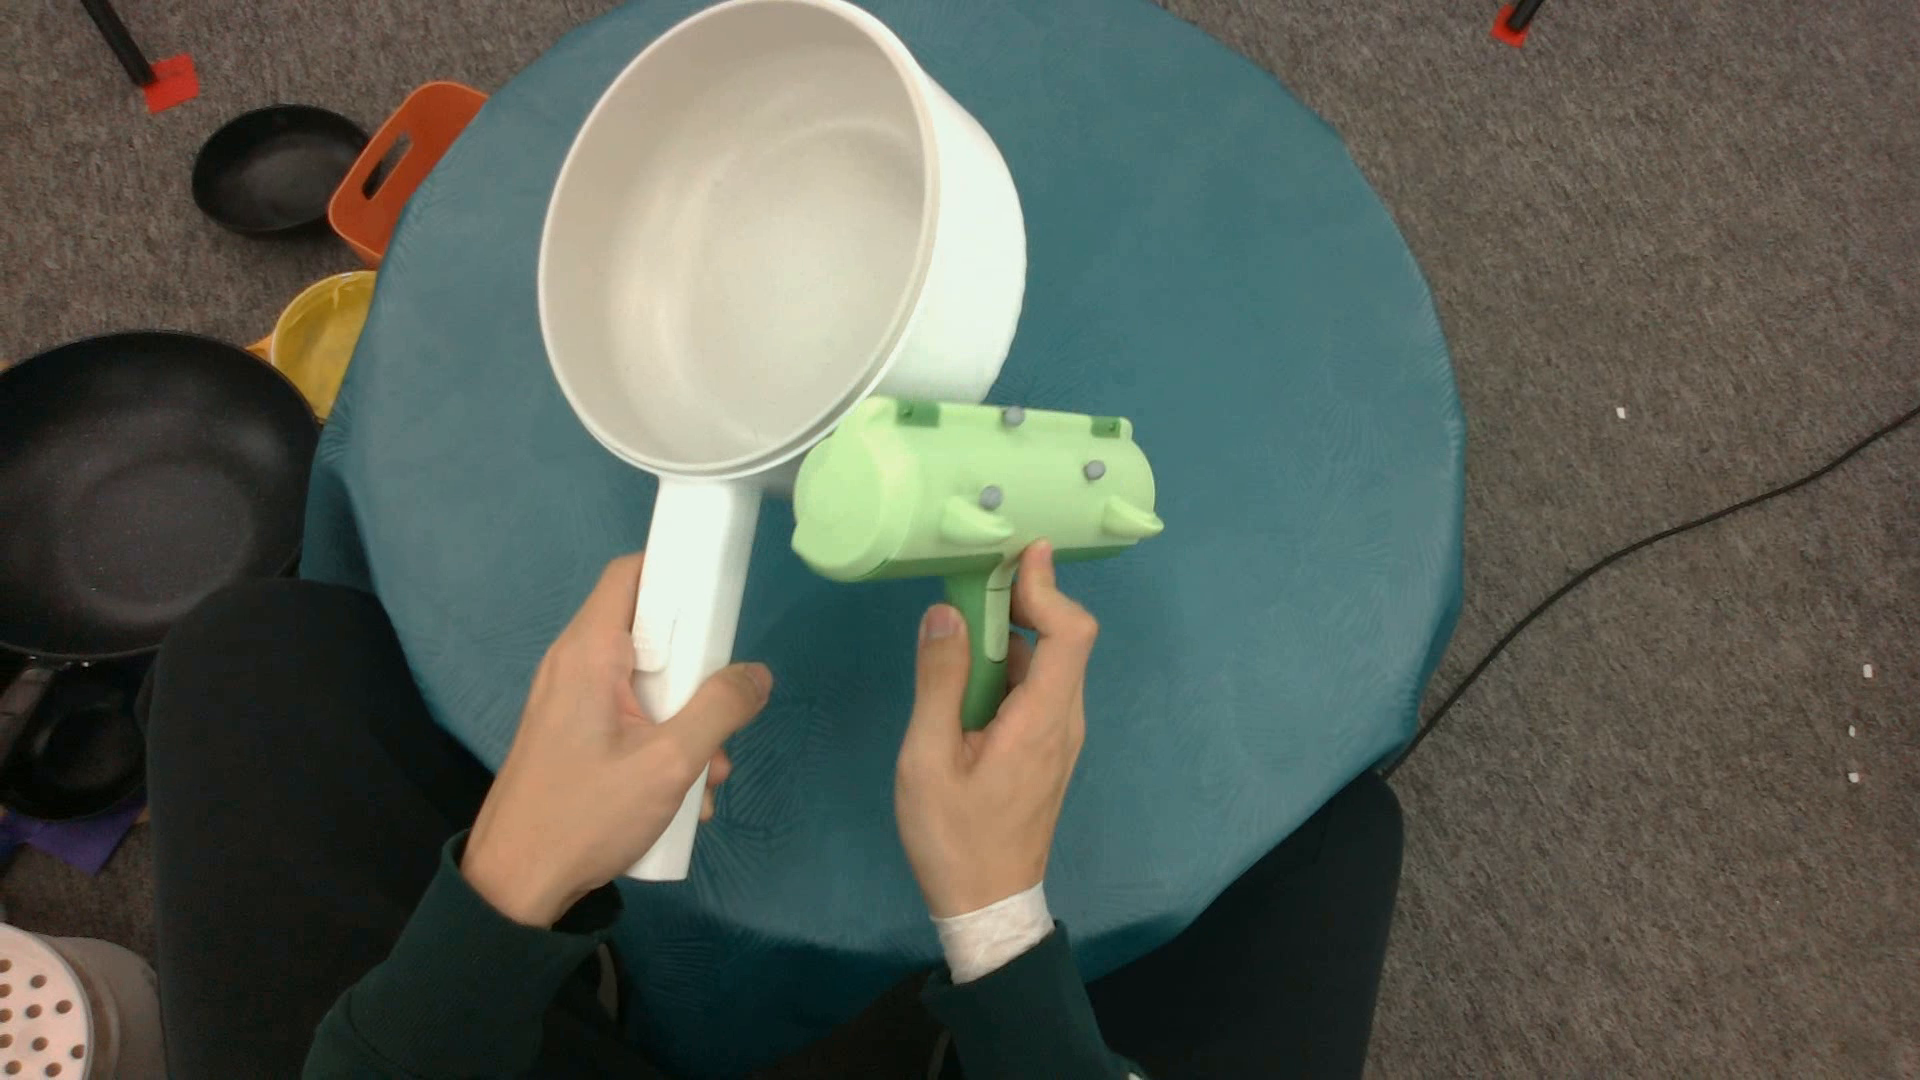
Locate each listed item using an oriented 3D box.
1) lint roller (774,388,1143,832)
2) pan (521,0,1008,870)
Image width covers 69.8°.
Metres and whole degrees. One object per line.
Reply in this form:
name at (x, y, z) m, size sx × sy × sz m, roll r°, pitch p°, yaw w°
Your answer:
lint roller at (0.012, 0.033, 0.567) m, size 0.082 × 0.199 × 0.183 m, roll 0°, pitch 92°, yaw 35°
pan at (-0.088, -0.044, 0.585) m, size 0.201 × 0.102 × 0.355 m, roll 5°, pitch 86°, yaw 27°
